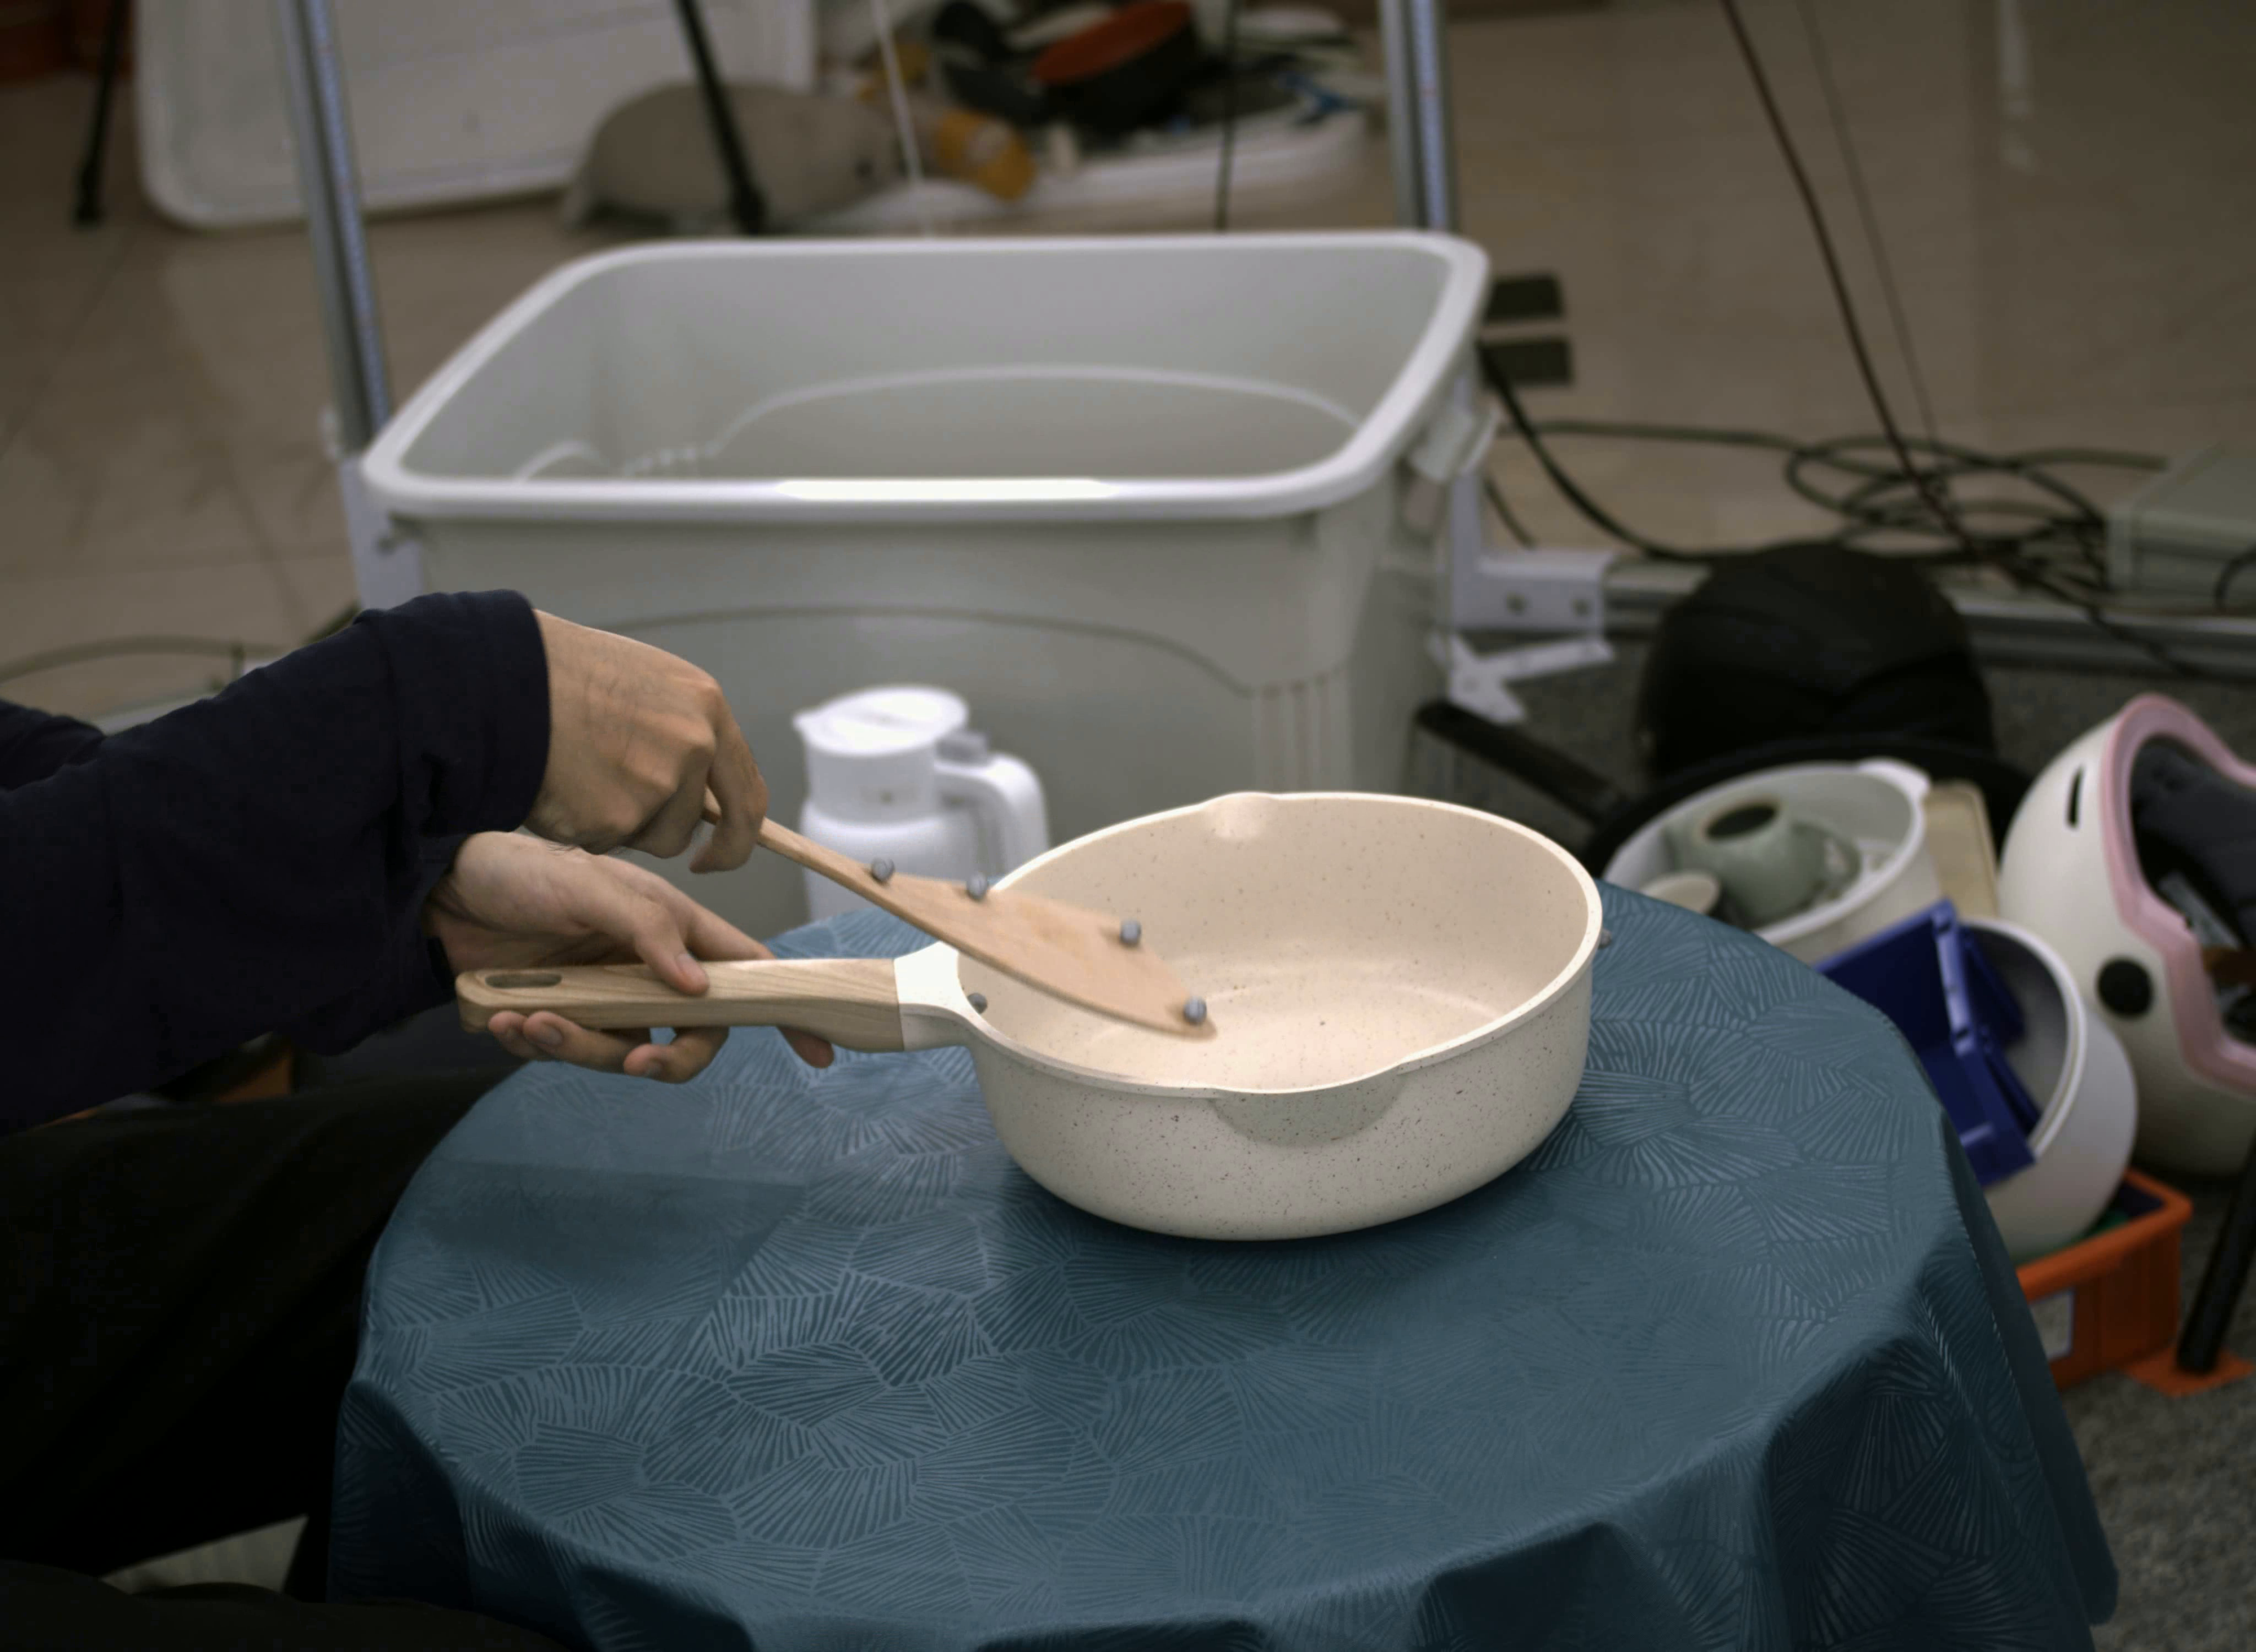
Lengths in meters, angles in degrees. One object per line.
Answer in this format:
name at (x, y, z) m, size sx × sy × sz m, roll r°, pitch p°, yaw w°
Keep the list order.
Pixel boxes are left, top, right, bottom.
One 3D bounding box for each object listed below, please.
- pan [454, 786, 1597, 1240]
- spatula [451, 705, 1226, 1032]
pan at (-0.034, 0.082, 2.166) m, size 0.434 × 0.103 × 0.259 m, roll -8°, pitch 26°, yaw -3°
spatula at (-0.103, 0.010, 2.005) m, size 0.330 × 0.016 × 0.078 m, roll 22°, pitch 21°, yaw -36°
